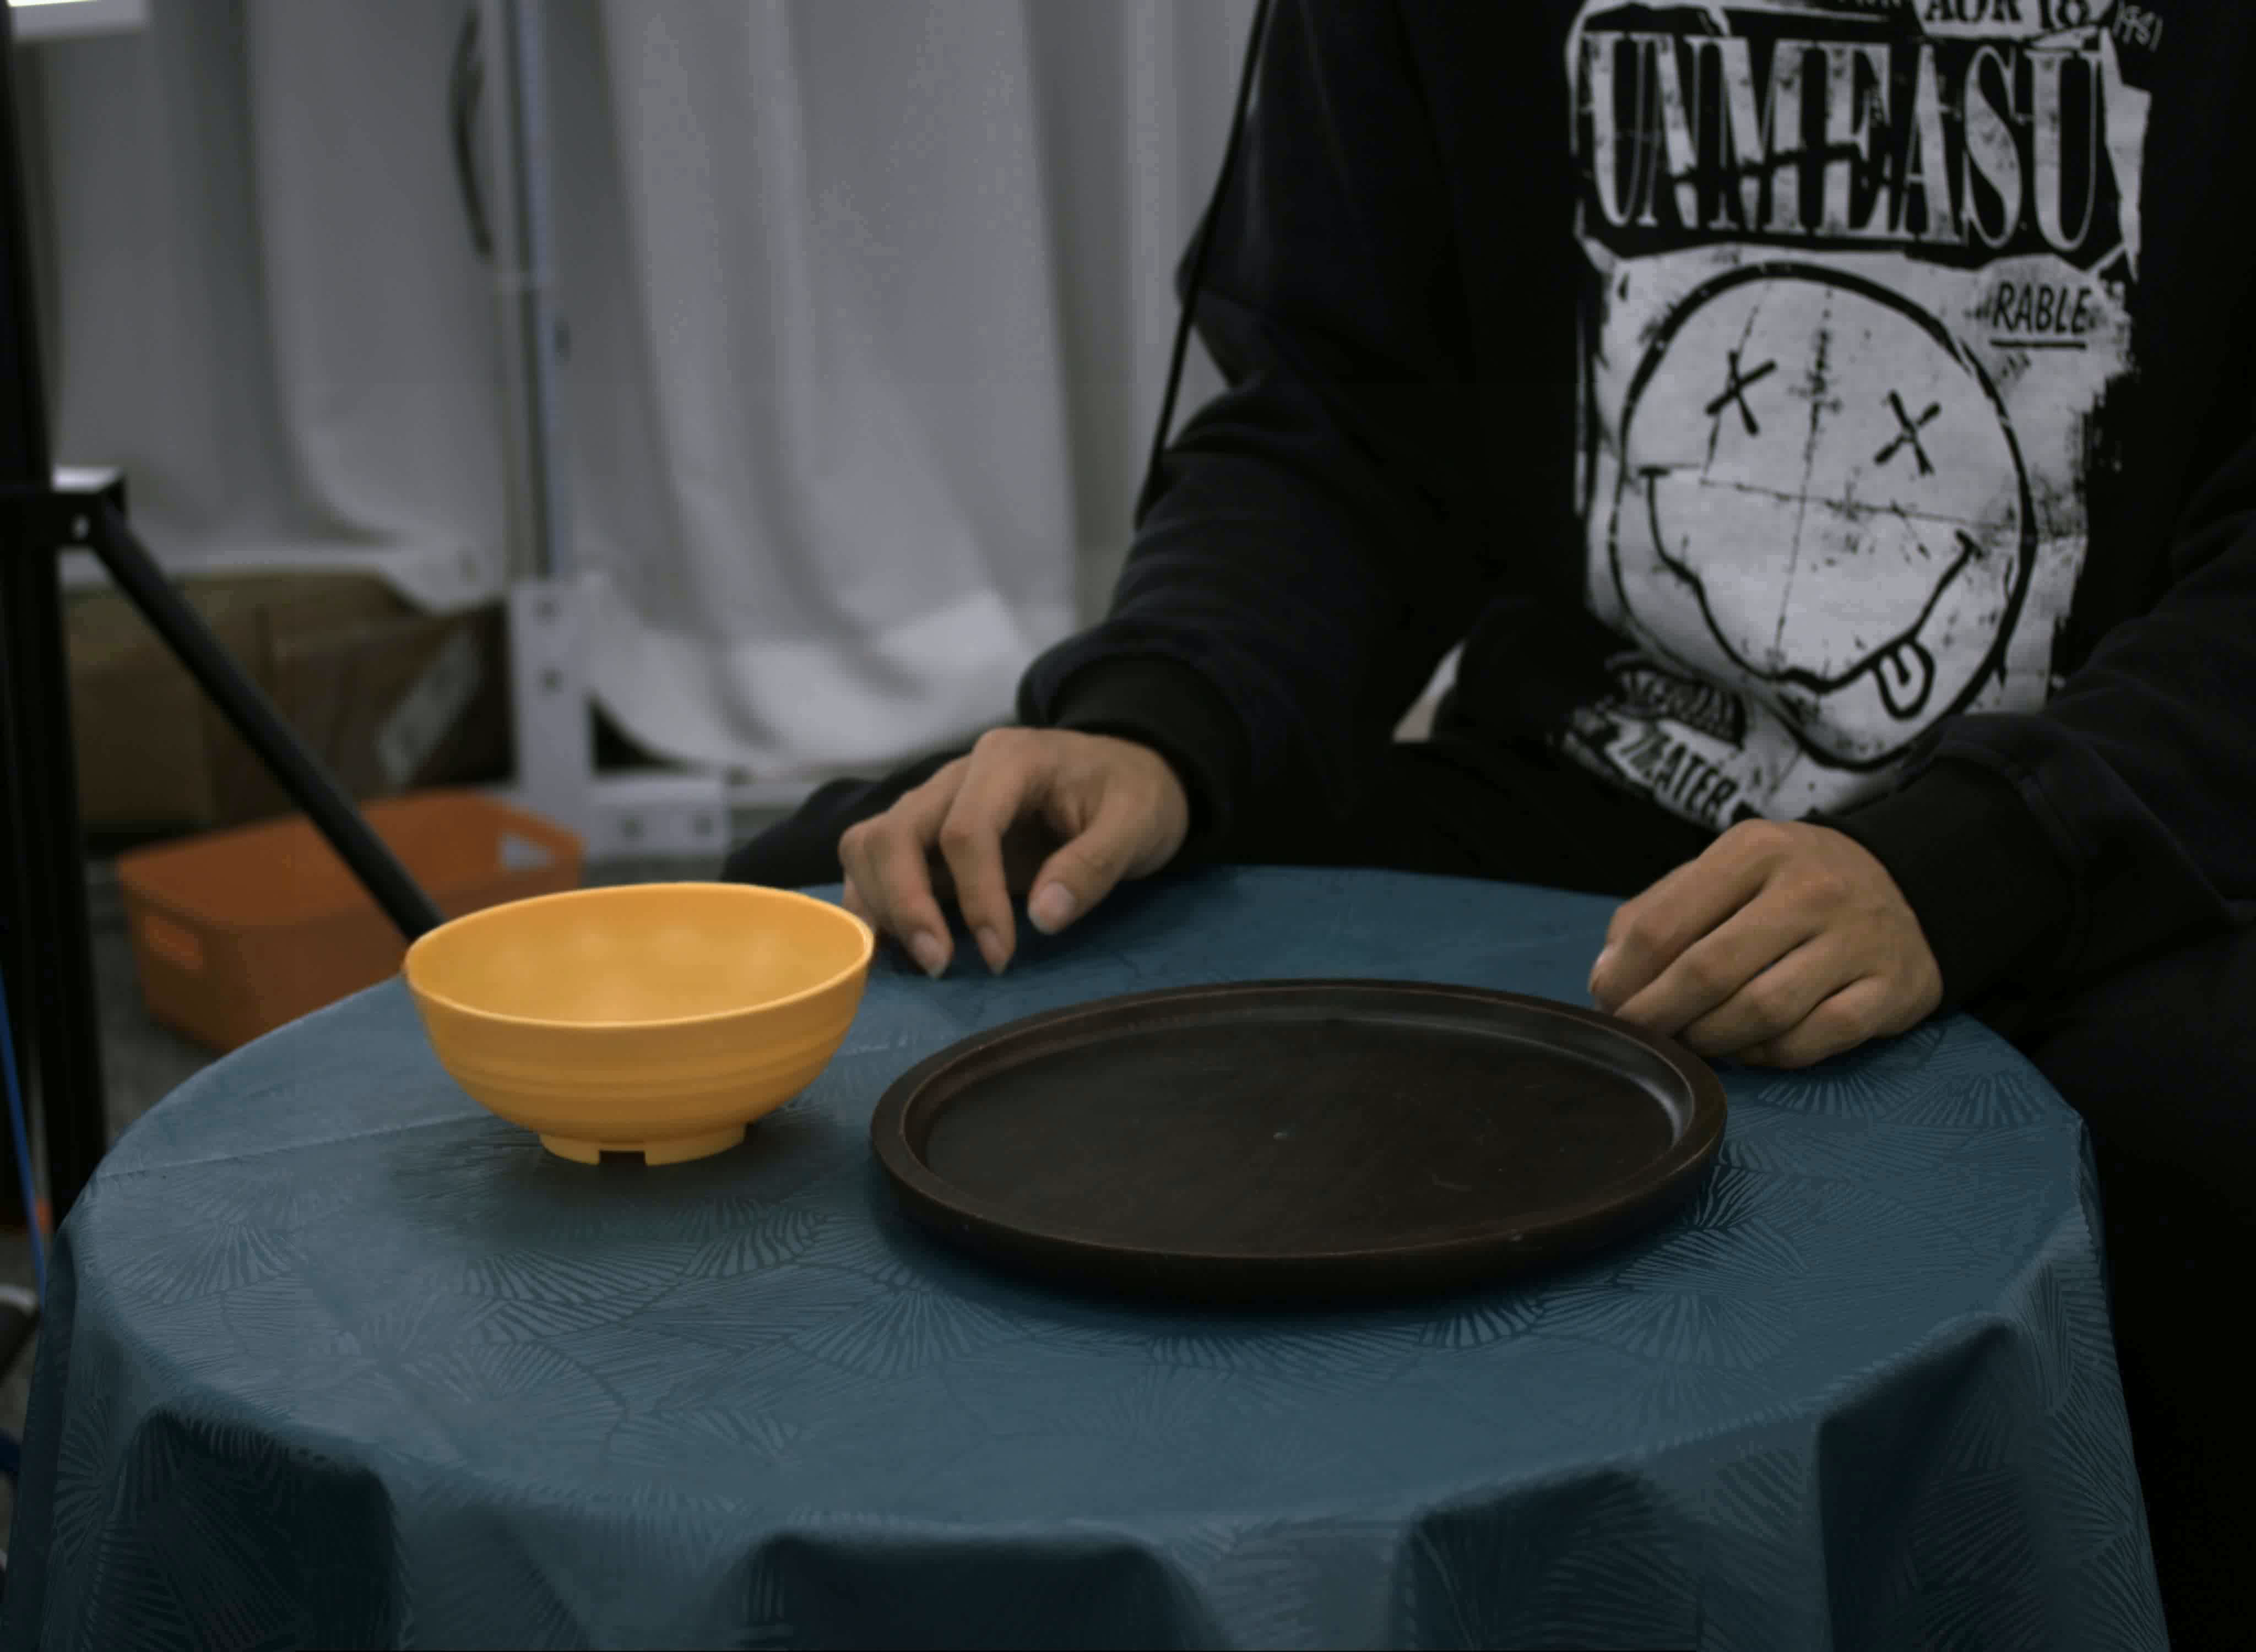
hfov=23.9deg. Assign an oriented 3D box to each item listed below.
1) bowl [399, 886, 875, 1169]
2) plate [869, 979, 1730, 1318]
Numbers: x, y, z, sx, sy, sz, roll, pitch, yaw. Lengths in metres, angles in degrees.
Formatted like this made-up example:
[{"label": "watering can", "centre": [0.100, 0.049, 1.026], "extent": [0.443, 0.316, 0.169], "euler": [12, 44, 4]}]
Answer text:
[{"label": "bowl", "centre": [-0.149, 0.067, 1.626], "extent": [0.144, 0.060, 0.146], "euler": [0, 15, -1]}, {"label": "plate", "centre": [0.051, 0.093, 1.563], "extent": [0.253, 0.029, 0.256], "euler": [-4, 15, 0]}]
